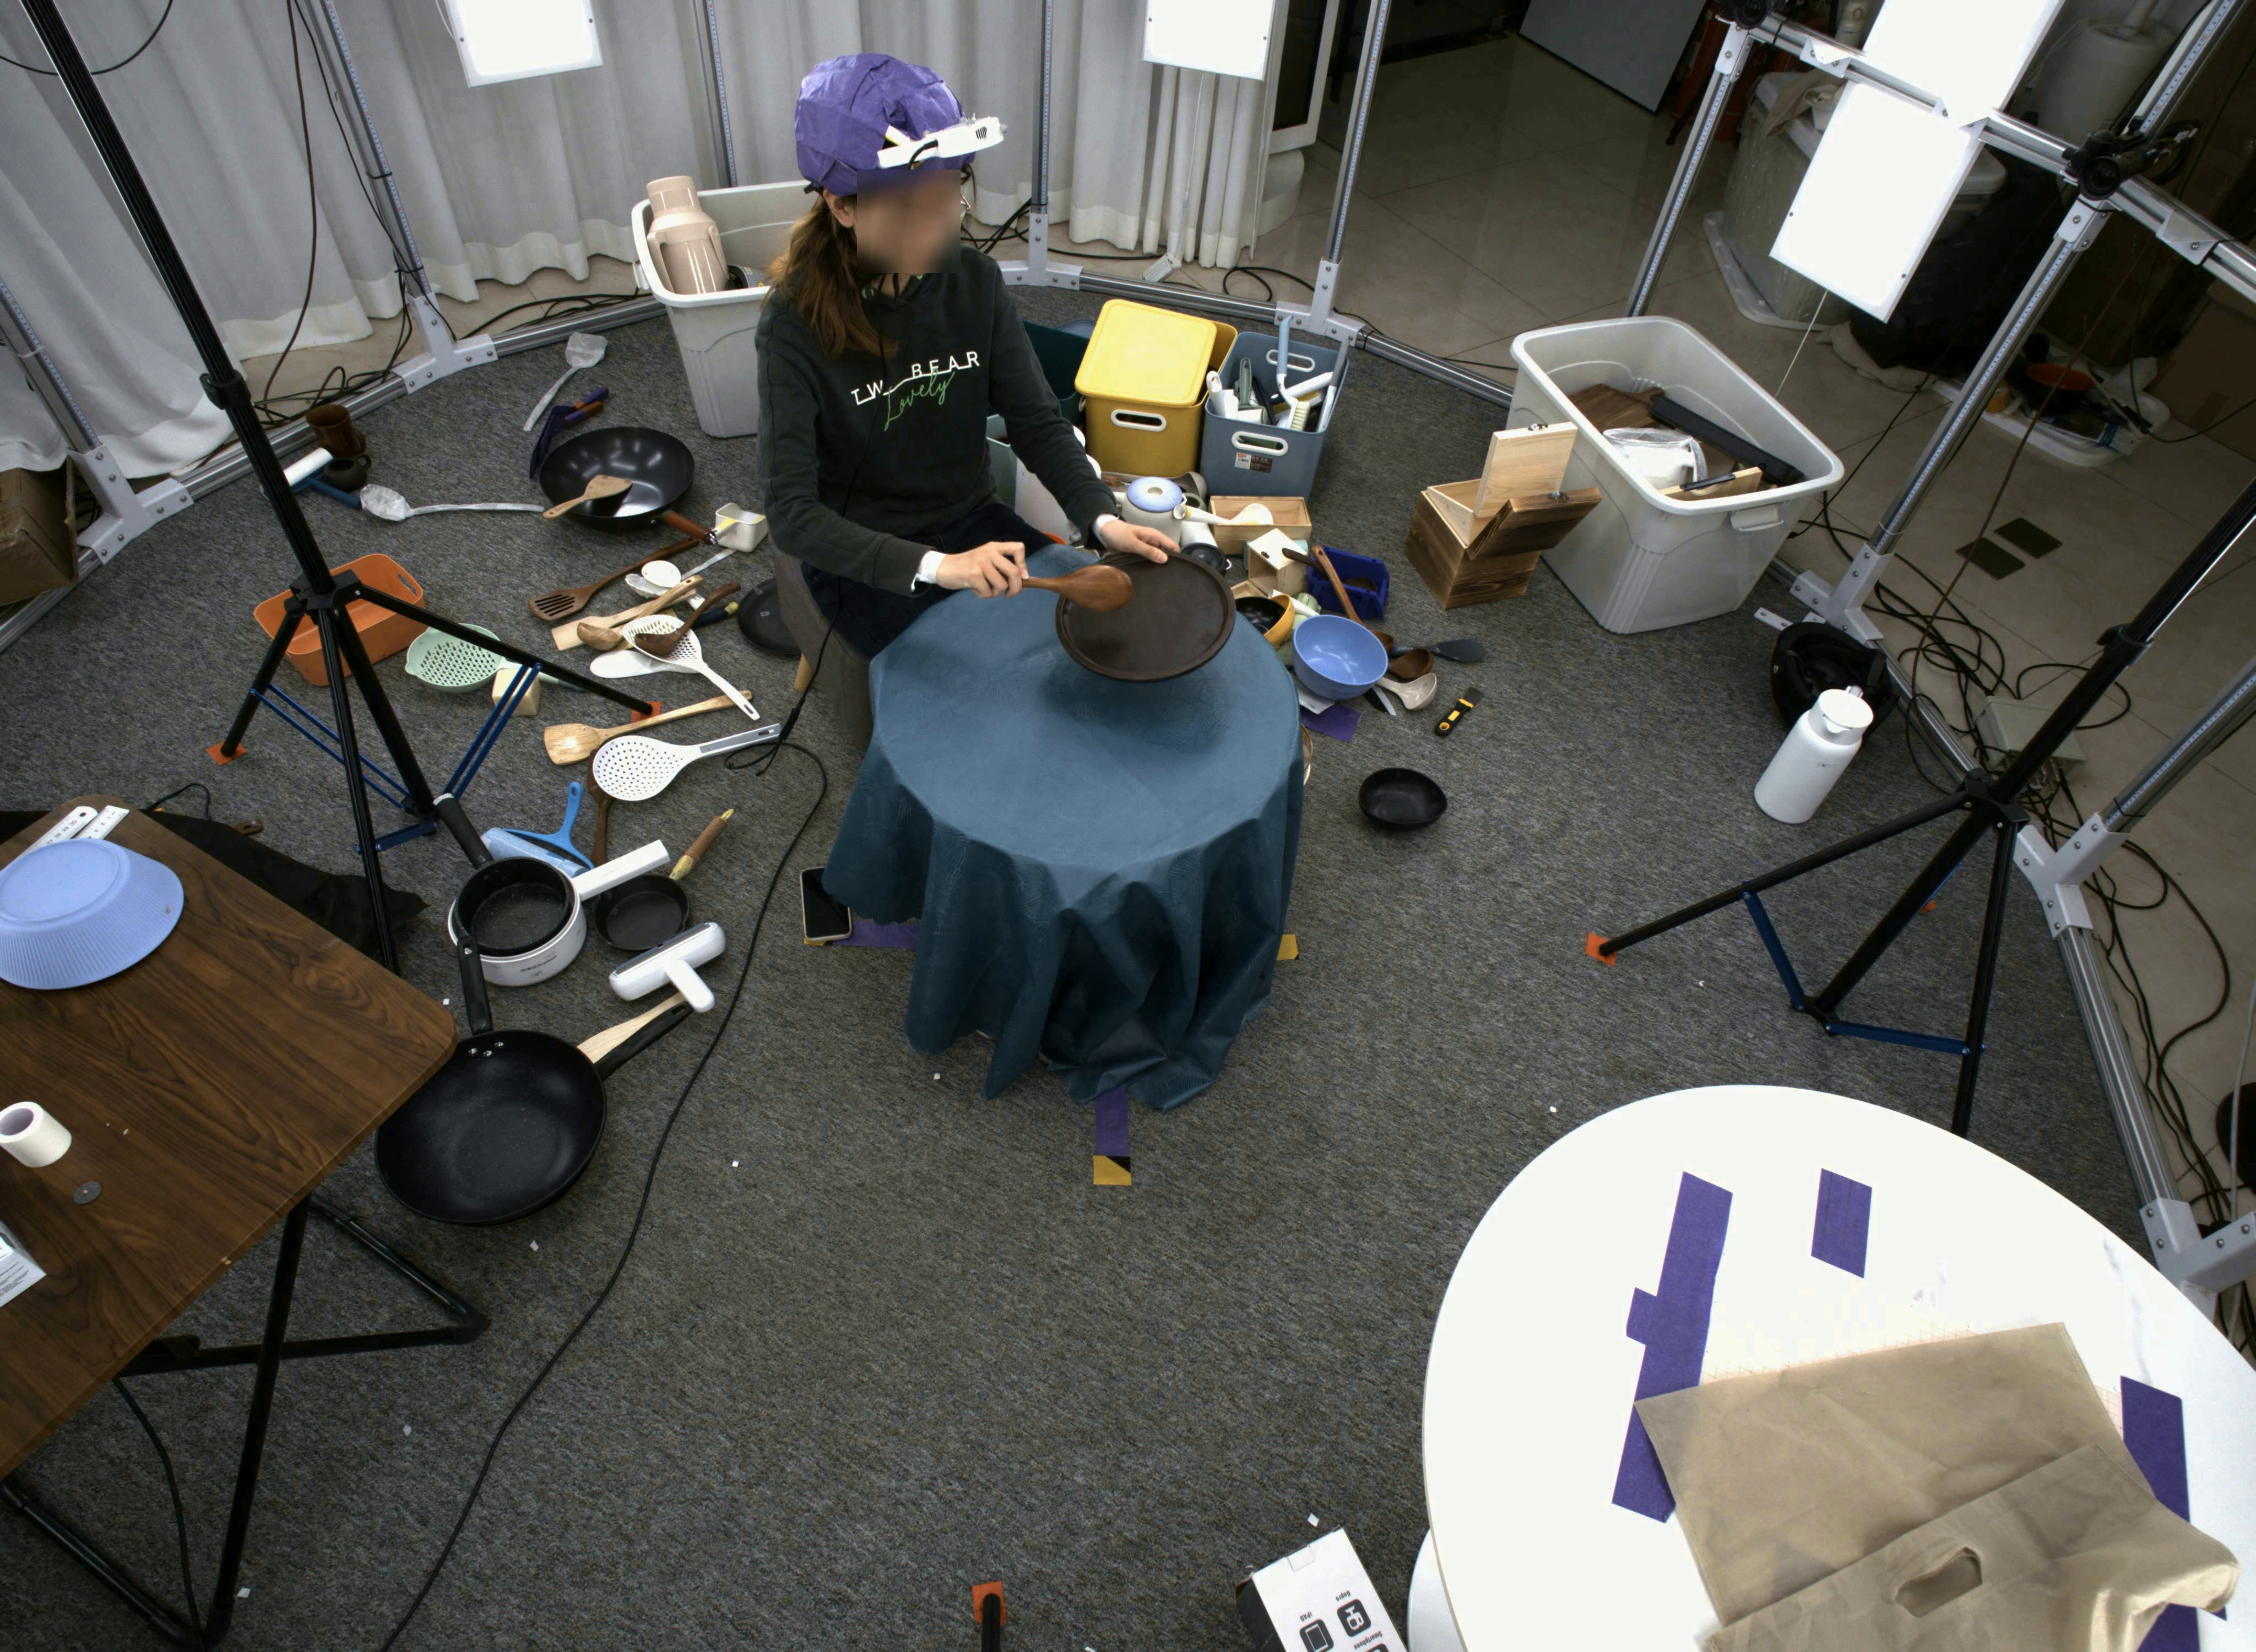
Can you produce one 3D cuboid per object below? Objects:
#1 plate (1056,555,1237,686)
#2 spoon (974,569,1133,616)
[{"bbox_3d":[0.026,-0.291,1.809,0.255,0.028,0.261,-2,53,2],"label":"plate"},{"bbox_3d":[-0.101,-0.323,1.745,0.215,0.074,0.018,8,45,-1],"label":"spoon"}]
